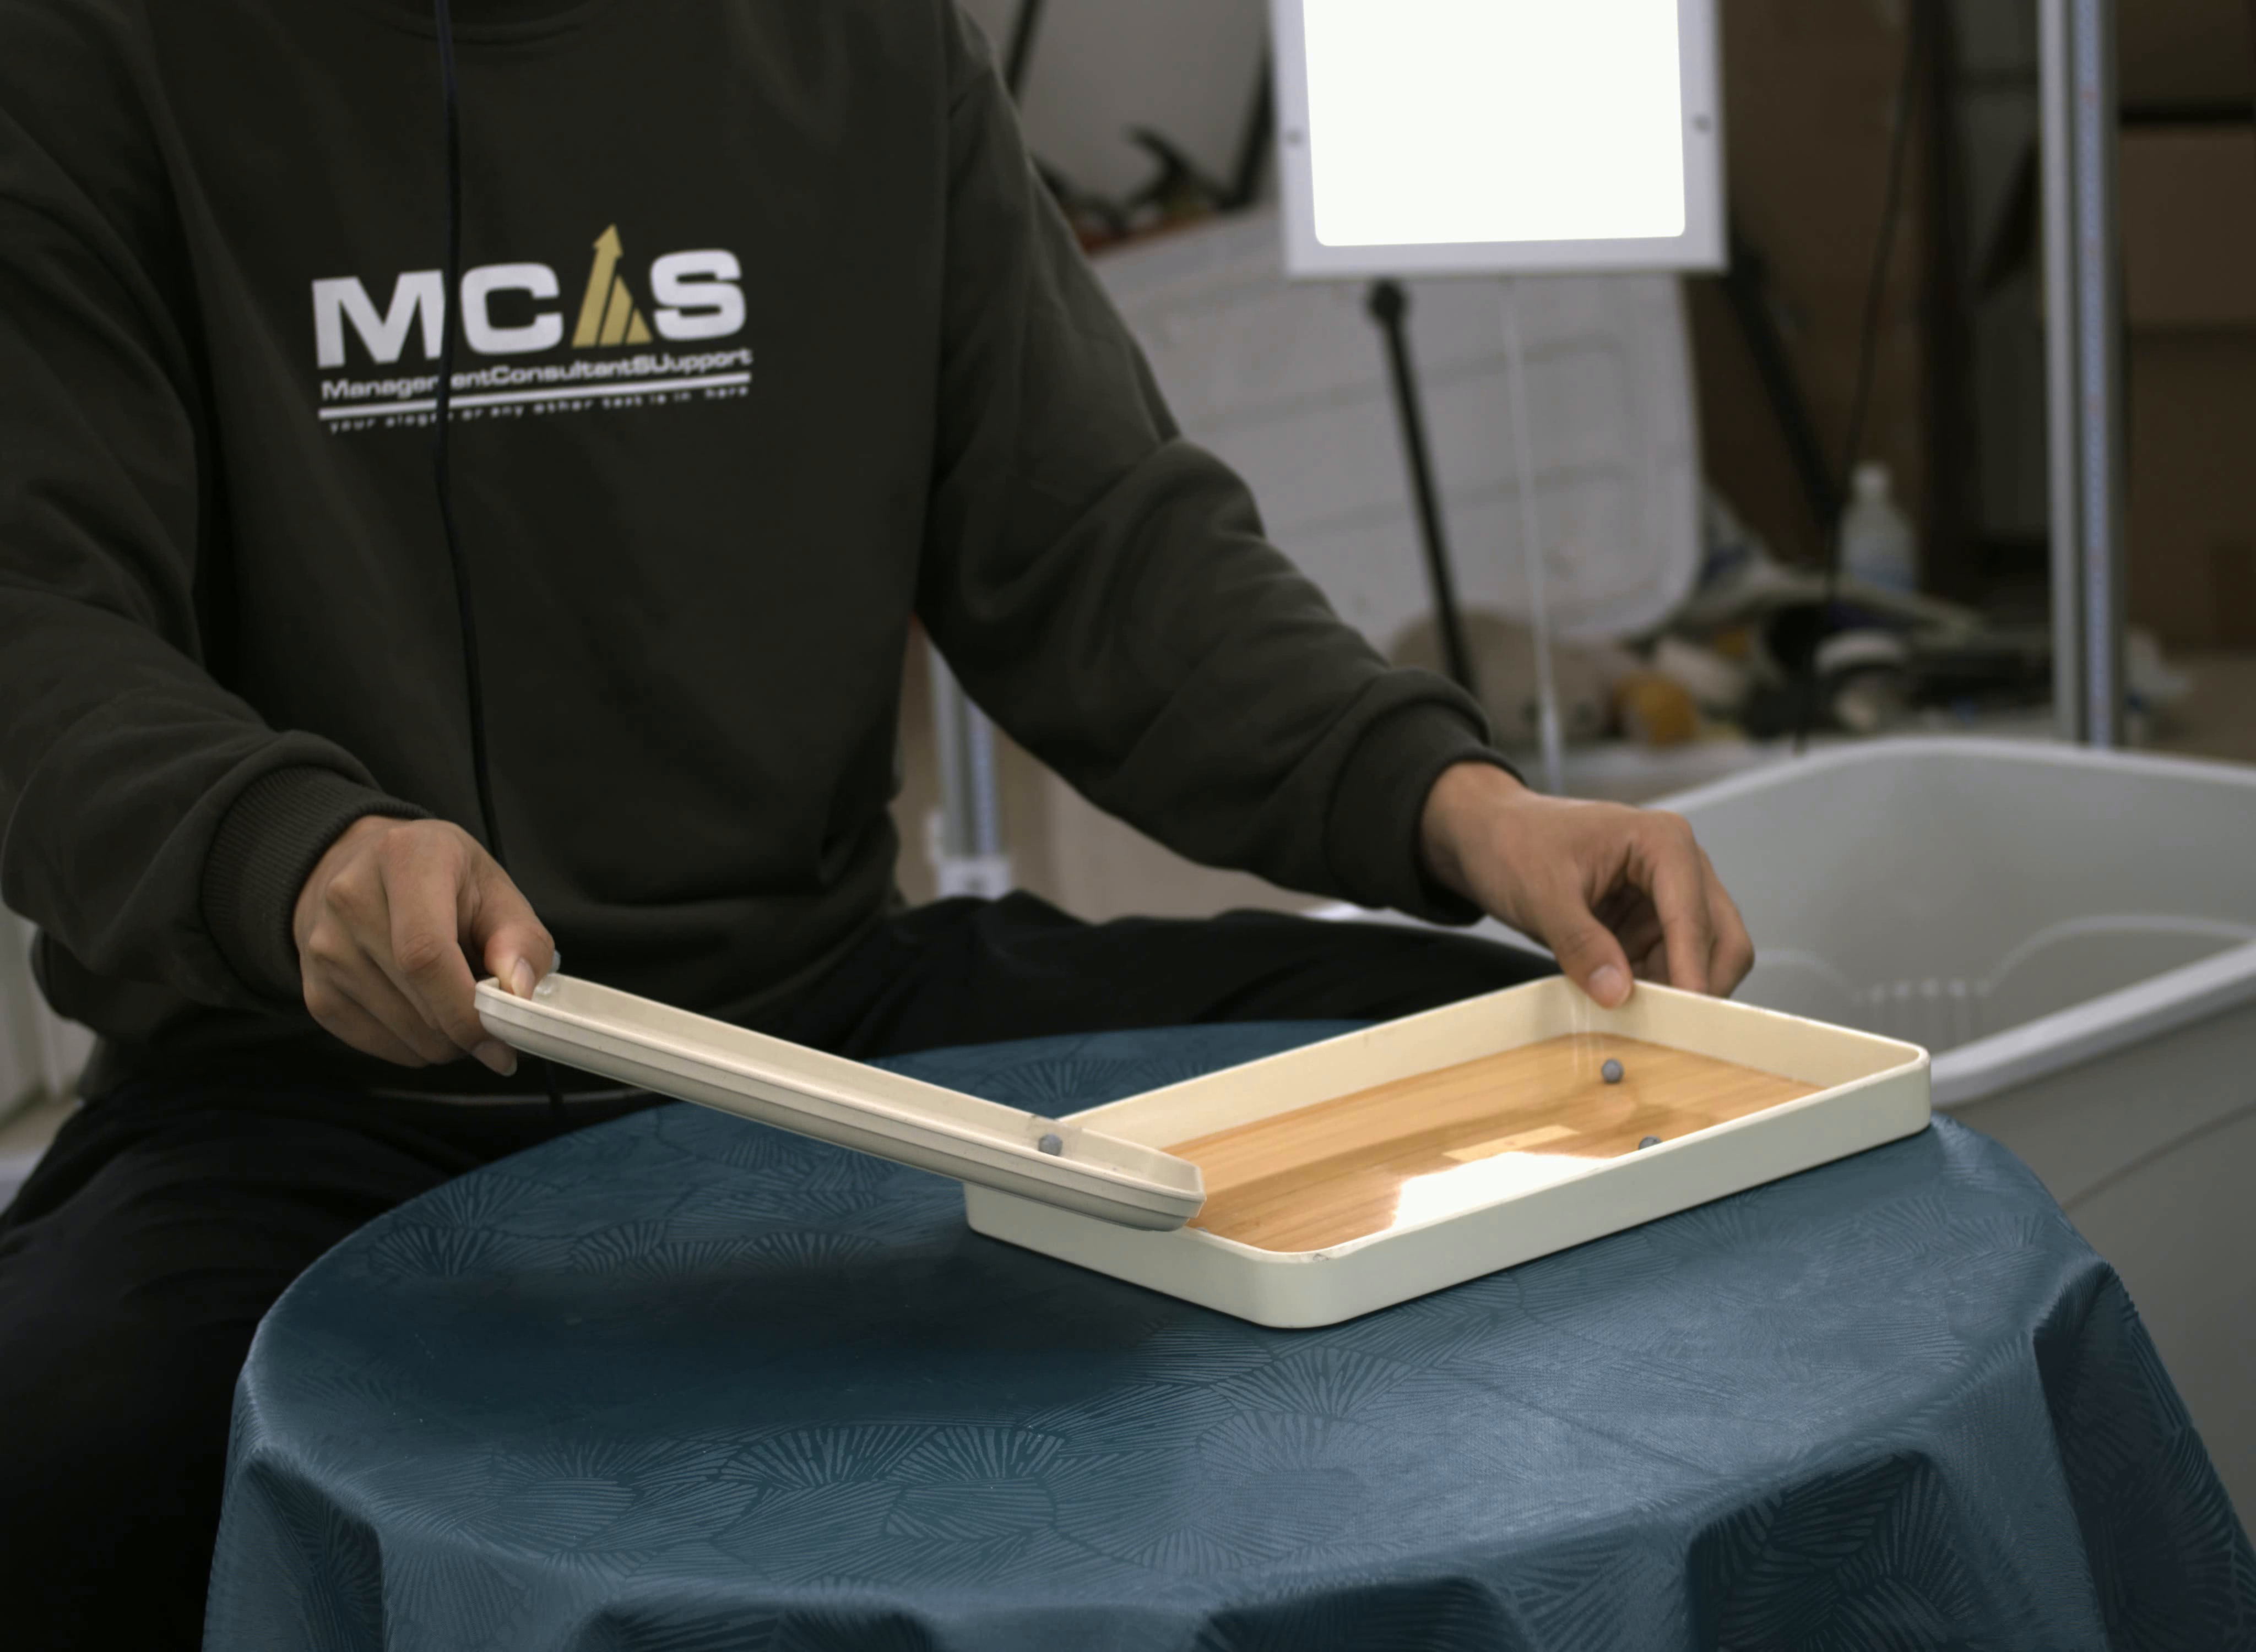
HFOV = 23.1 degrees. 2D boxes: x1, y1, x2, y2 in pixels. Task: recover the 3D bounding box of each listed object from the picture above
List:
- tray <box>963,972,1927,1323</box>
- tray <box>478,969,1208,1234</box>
[{"bbox_3d":[0.111,0.106,1.887,0.293,0.027,0.195,-14,16,-35],"label":"tray"},{"bbox_3d":[-0.091,0.089,1.779,0.239,0.017,0.171,16,1,2],"label":"tray"}]
